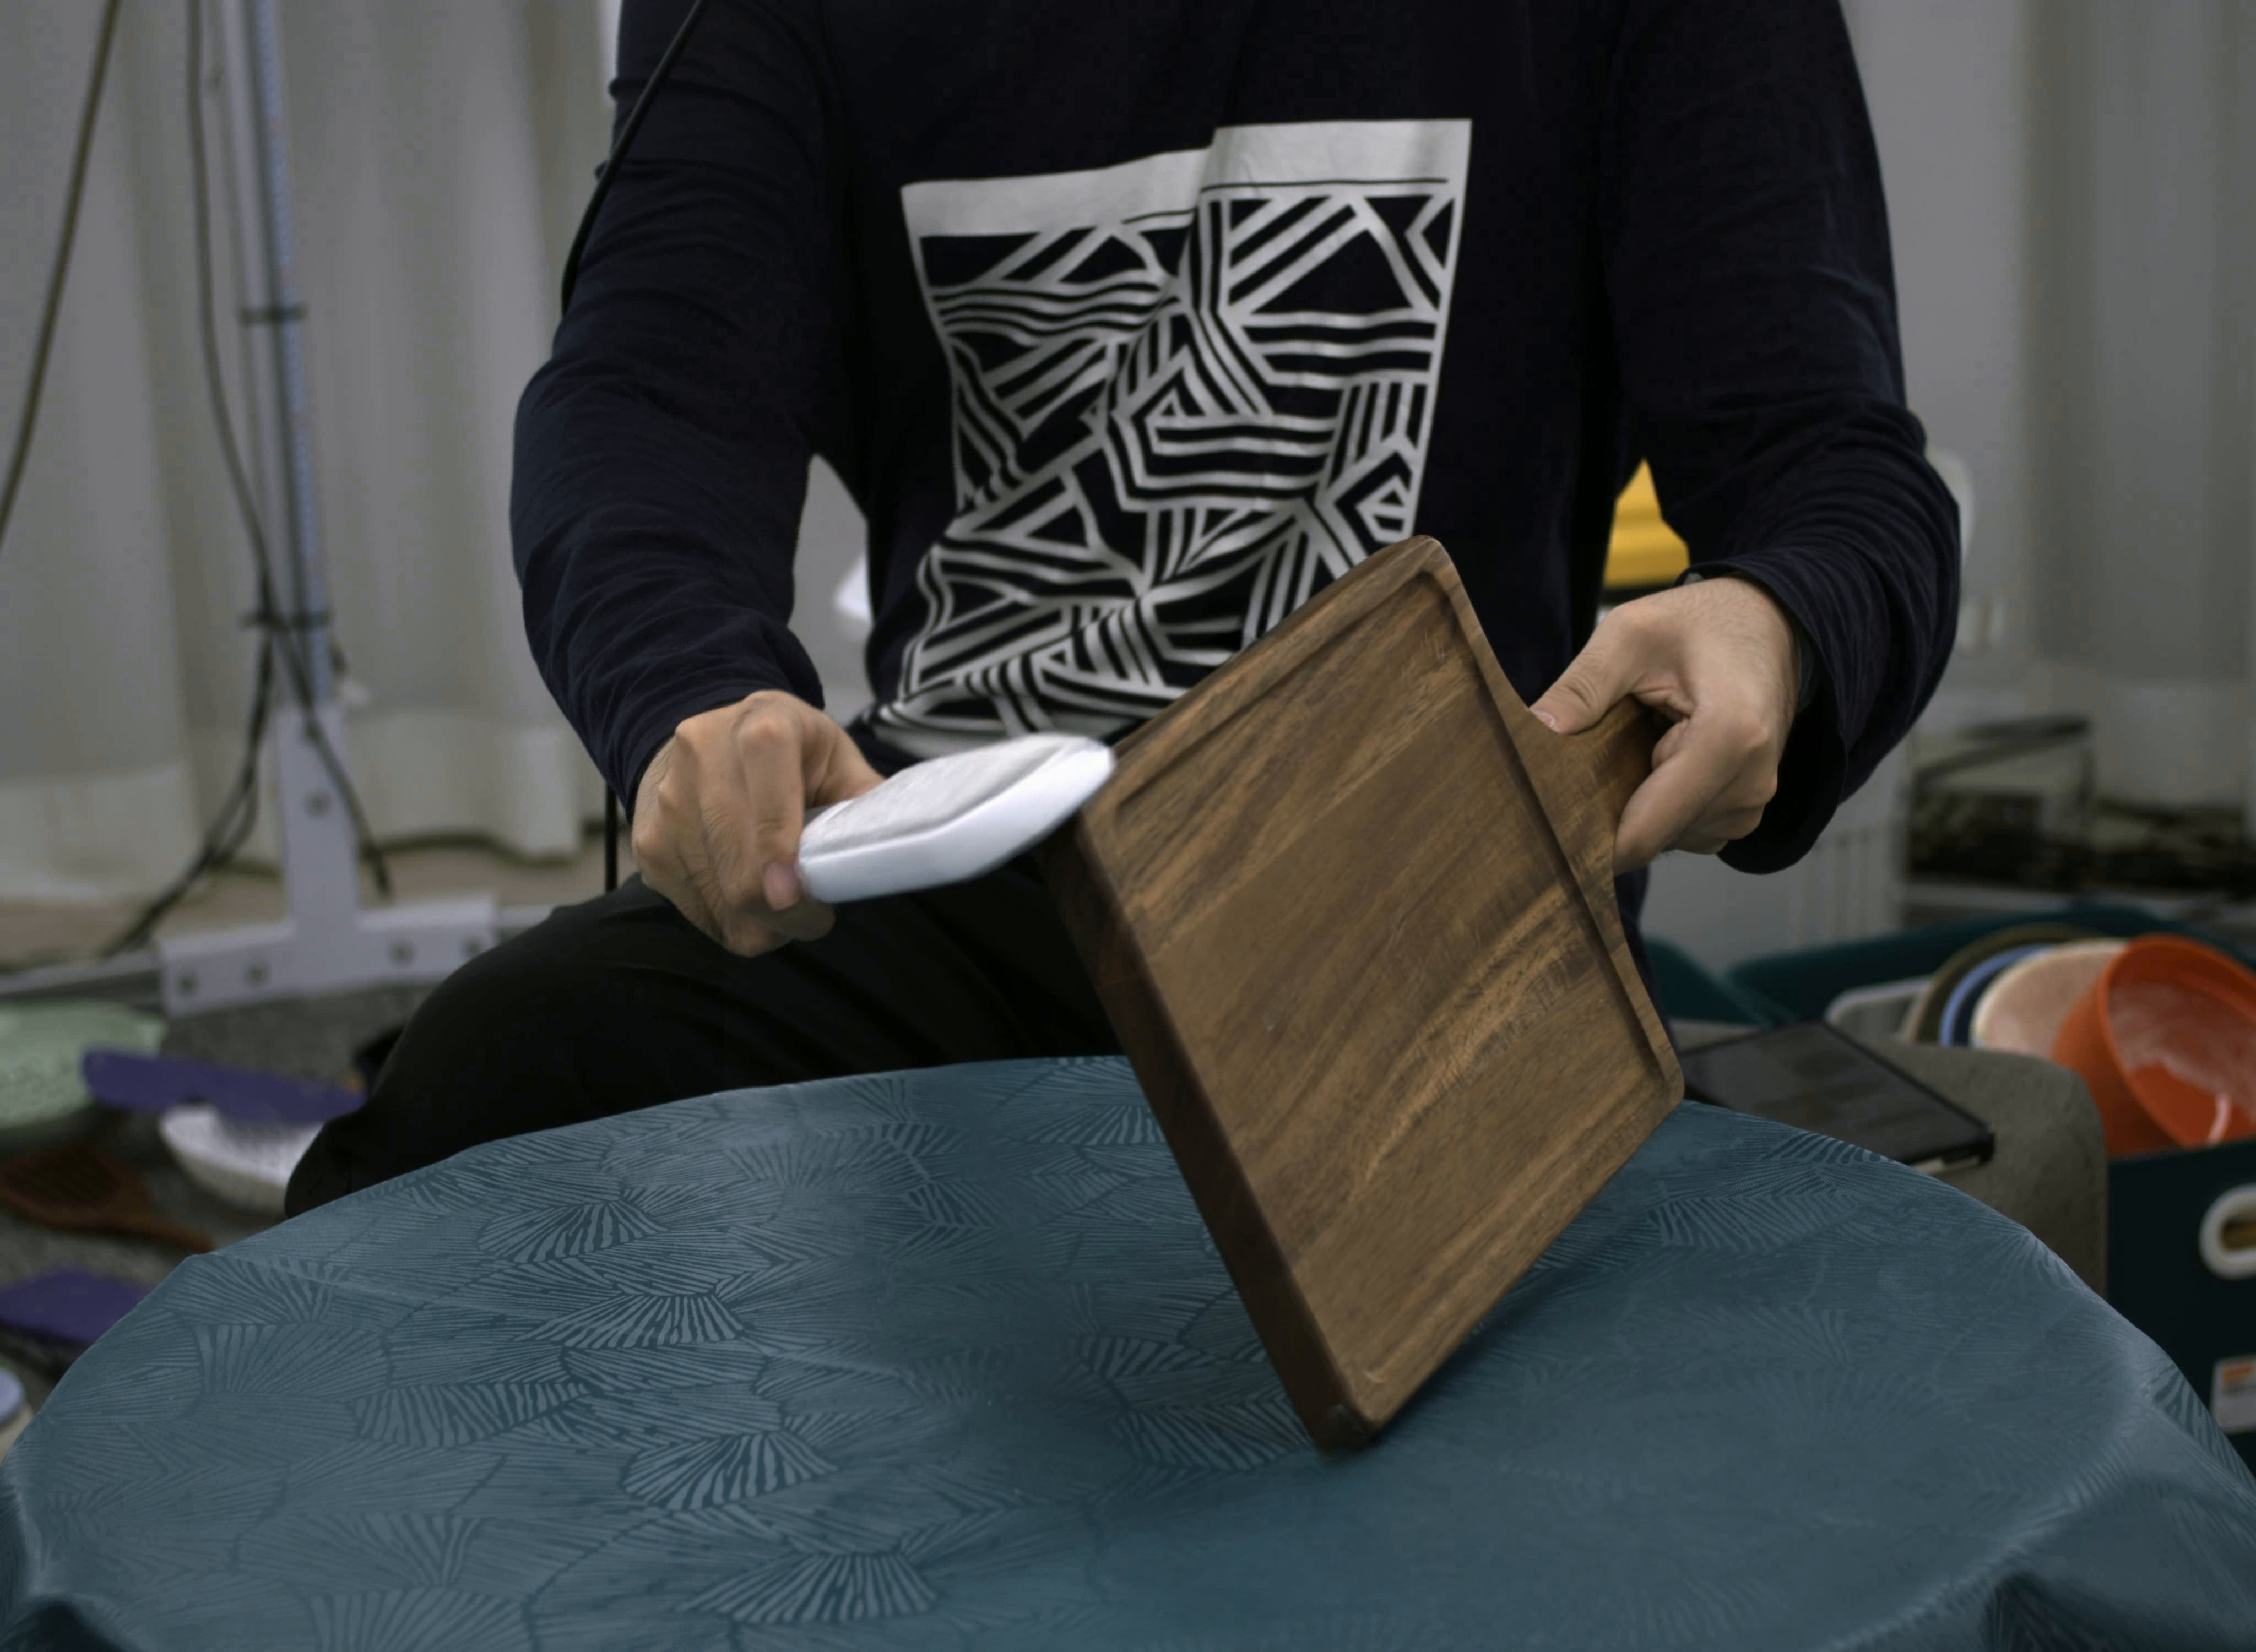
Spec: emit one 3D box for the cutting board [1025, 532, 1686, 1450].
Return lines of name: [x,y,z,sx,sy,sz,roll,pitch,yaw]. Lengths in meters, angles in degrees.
cutting board: [0.094,0.024,1.622,0.023,0.201,0.353,-22,8,32]

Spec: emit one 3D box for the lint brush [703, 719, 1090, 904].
lint brush: [-0.074,0.000,1.562,0.060,0.021,0.309,-41,9,-16]
